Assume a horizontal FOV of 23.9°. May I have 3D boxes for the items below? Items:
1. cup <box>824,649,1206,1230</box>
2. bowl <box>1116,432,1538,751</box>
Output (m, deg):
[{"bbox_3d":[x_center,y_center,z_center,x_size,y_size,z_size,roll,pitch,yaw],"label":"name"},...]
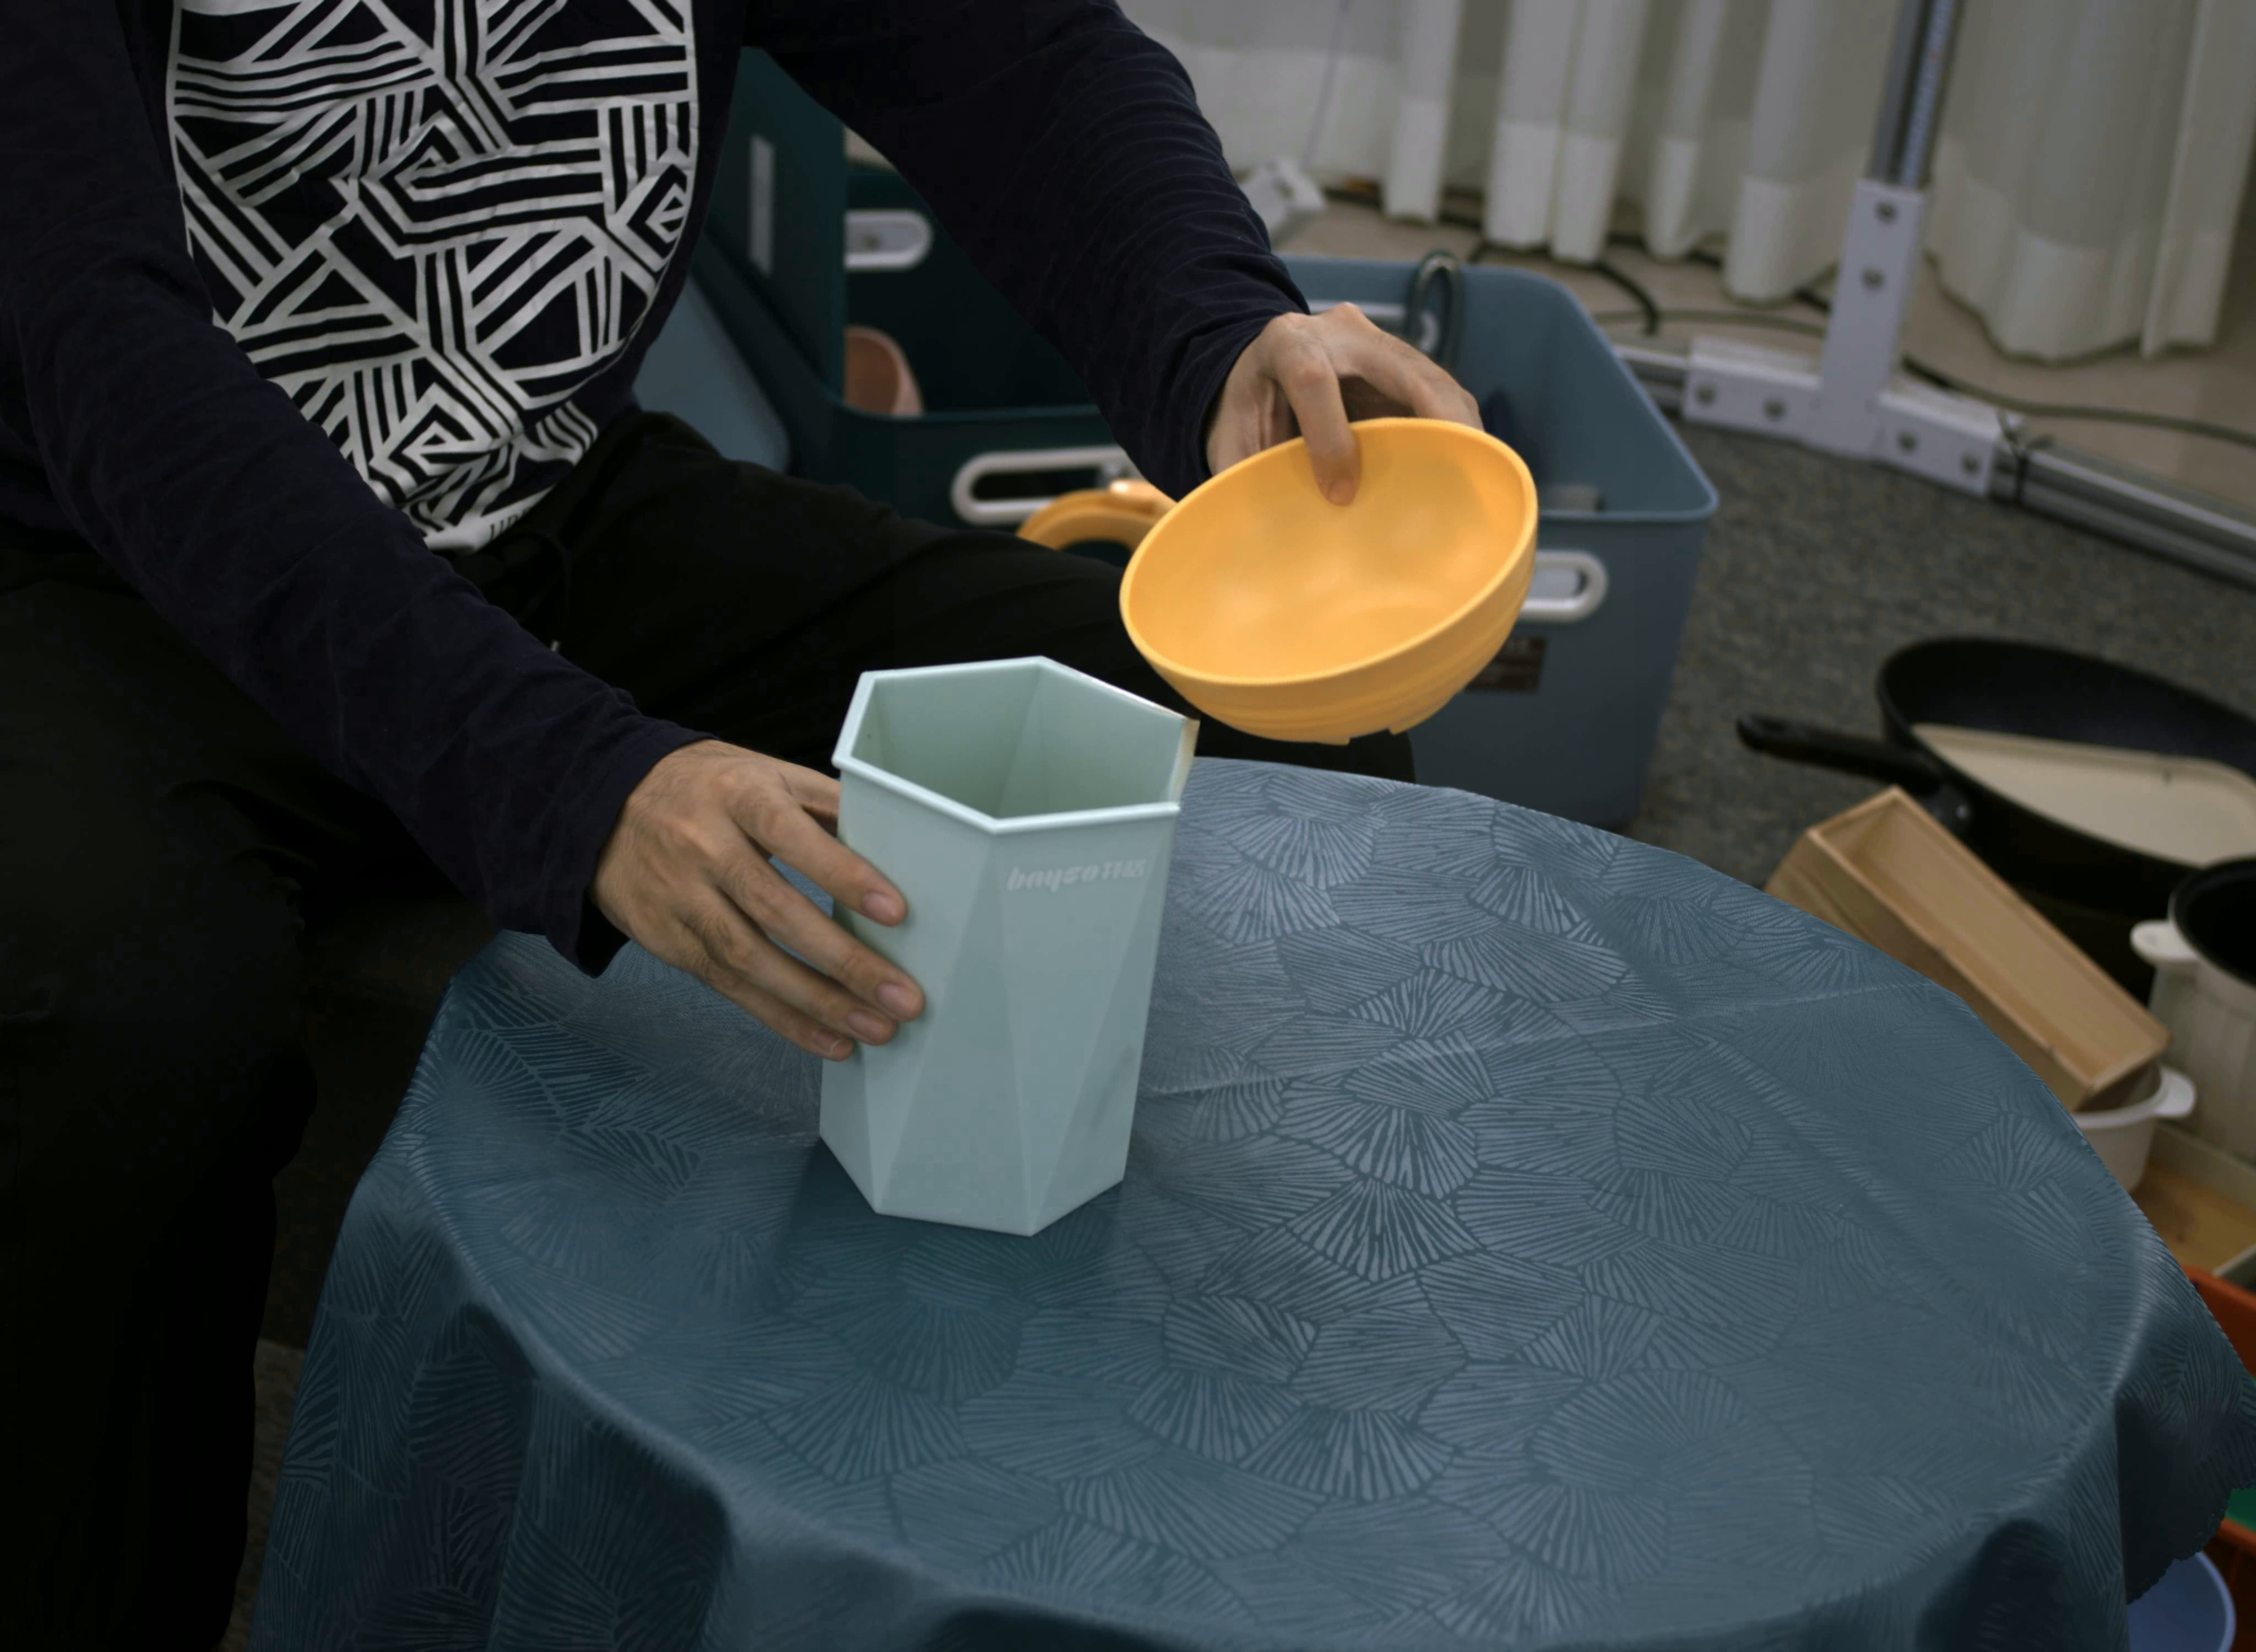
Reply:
[{"bbox_3d":[-0.042,0.040,1.778,0.130,0.162,0.116,-6,29,-24],"label":"cup"},{"bbox_3d":[0.073,-0.068,1.782,0.145,0.060,0.146,-13,33,9],"label":"bowl"}]
